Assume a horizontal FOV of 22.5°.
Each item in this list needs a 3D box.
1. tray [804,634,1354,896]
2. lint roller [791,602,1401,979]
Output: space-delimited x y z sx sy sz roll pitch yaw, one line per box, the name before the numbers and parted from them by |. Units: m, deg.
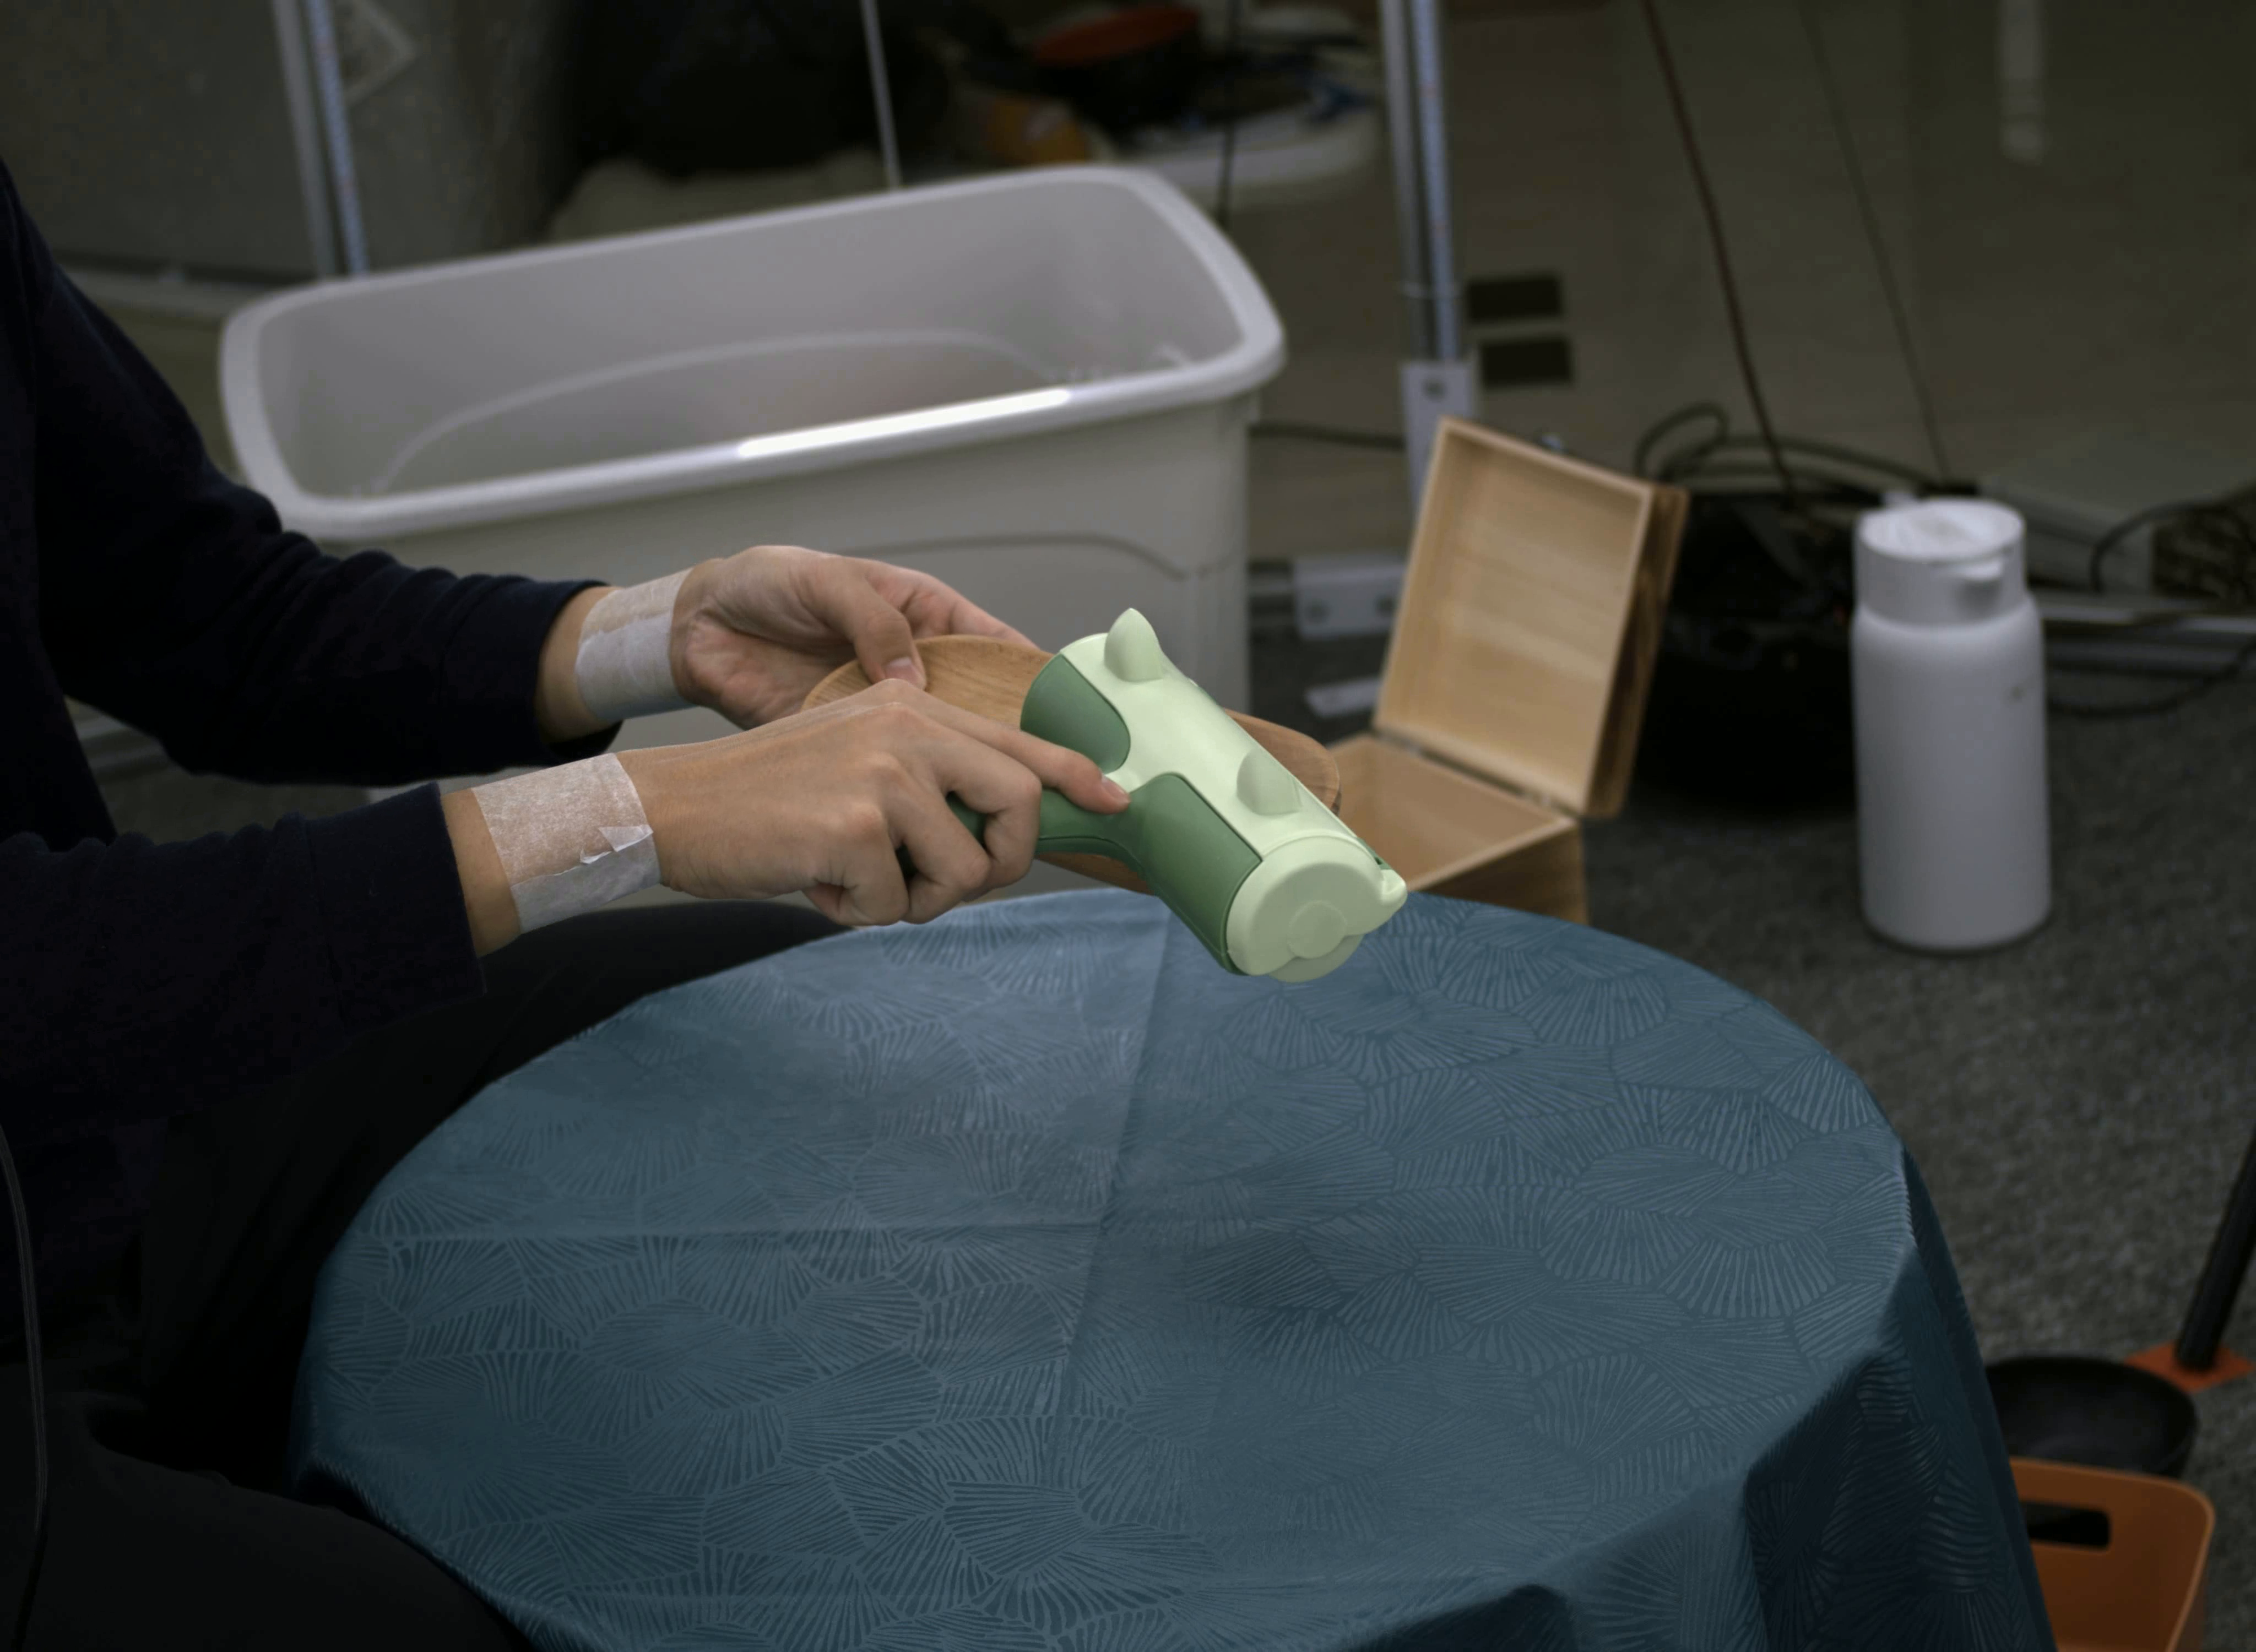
tray | -0.020 -0.023 2.061 0.229 0.021 0.100 20 43 35
lint roller | -0.024 -0.023 1.935 0.183 0.083 0.196 7 21 -29
